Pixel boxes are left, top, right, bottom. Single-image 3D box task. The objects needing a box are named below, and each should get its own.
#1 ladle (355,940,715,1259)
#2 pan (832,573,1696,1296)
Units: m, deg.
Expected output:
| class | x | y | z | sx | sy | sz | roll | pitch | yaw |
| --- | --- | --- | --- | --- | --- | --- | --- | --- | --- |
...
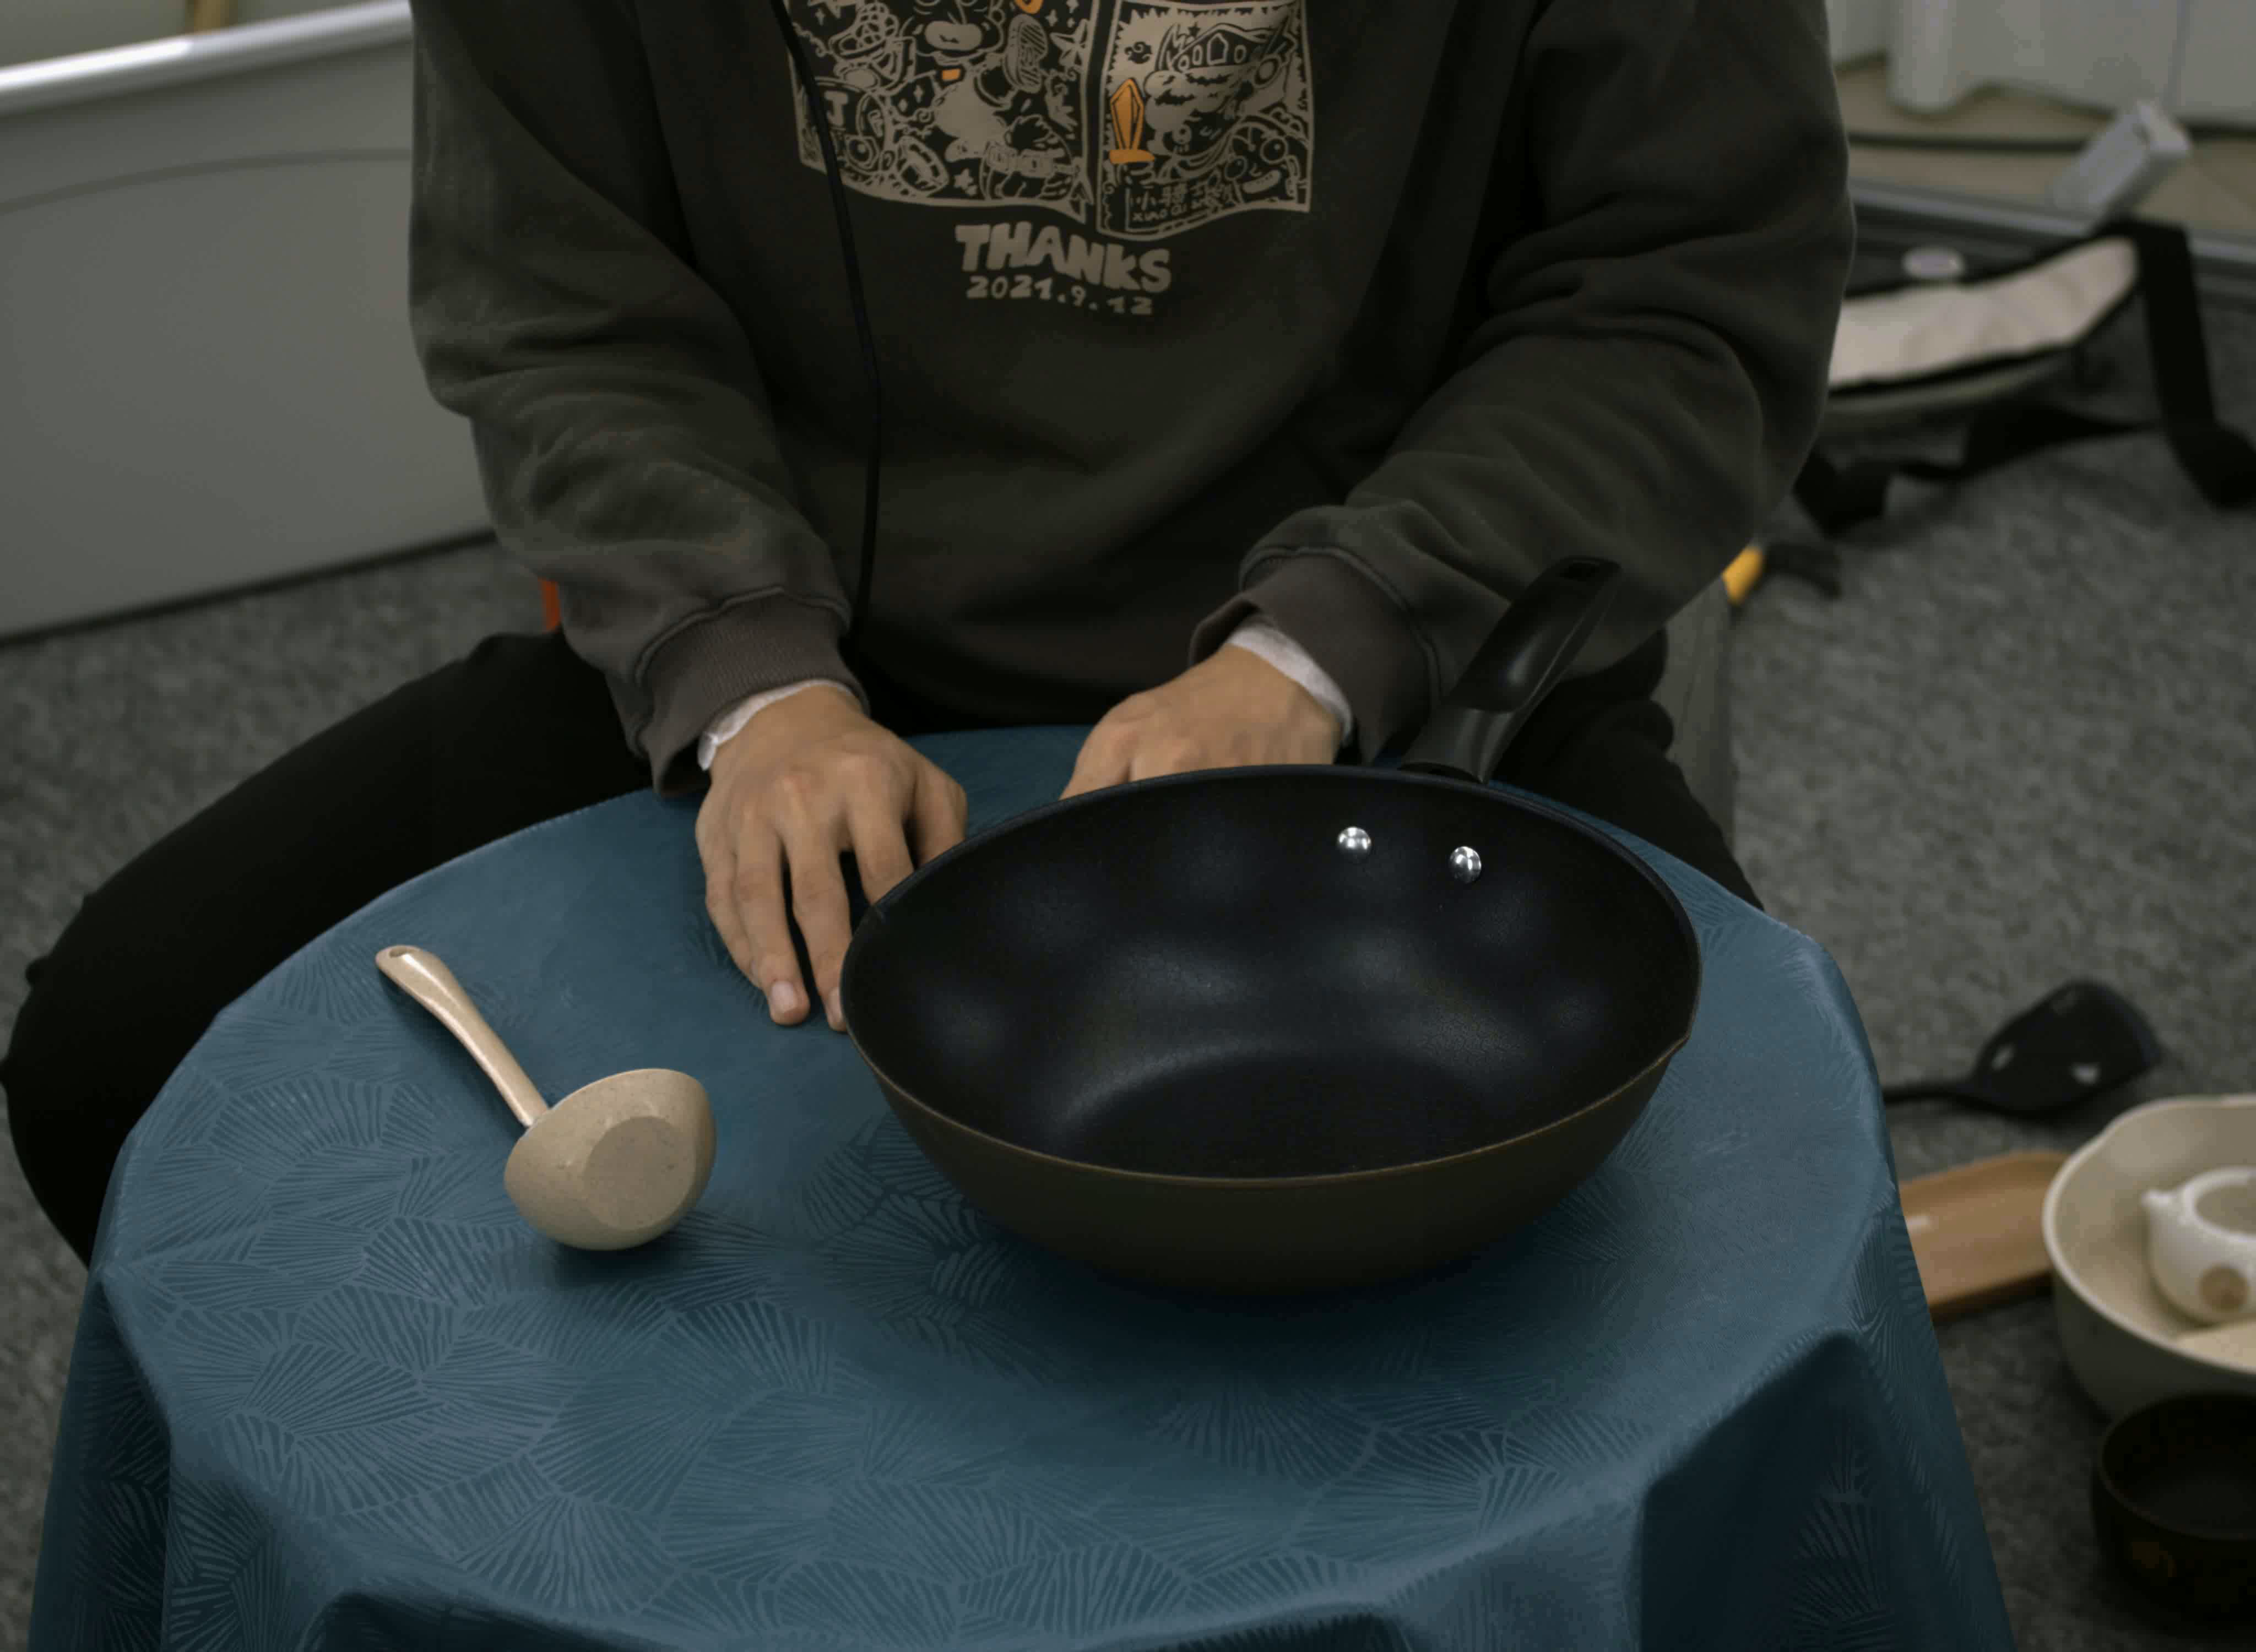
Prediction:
| class | x | y | z | sx | sy | sz | roll | pitch | yaw |
| --- | --- | --- | --- | --- | --- | --- | --- | --- | --- |
| ladle | -0.216 | 0.066 | 1.909 | 0.072 | 0.072 | 0.256 | -18 | 33 | -22 |
| pan | 0.082 | 0.038 | 1.925 | 0.286 | 0.086 | 0.471 | 9 | 29 | 22 |
